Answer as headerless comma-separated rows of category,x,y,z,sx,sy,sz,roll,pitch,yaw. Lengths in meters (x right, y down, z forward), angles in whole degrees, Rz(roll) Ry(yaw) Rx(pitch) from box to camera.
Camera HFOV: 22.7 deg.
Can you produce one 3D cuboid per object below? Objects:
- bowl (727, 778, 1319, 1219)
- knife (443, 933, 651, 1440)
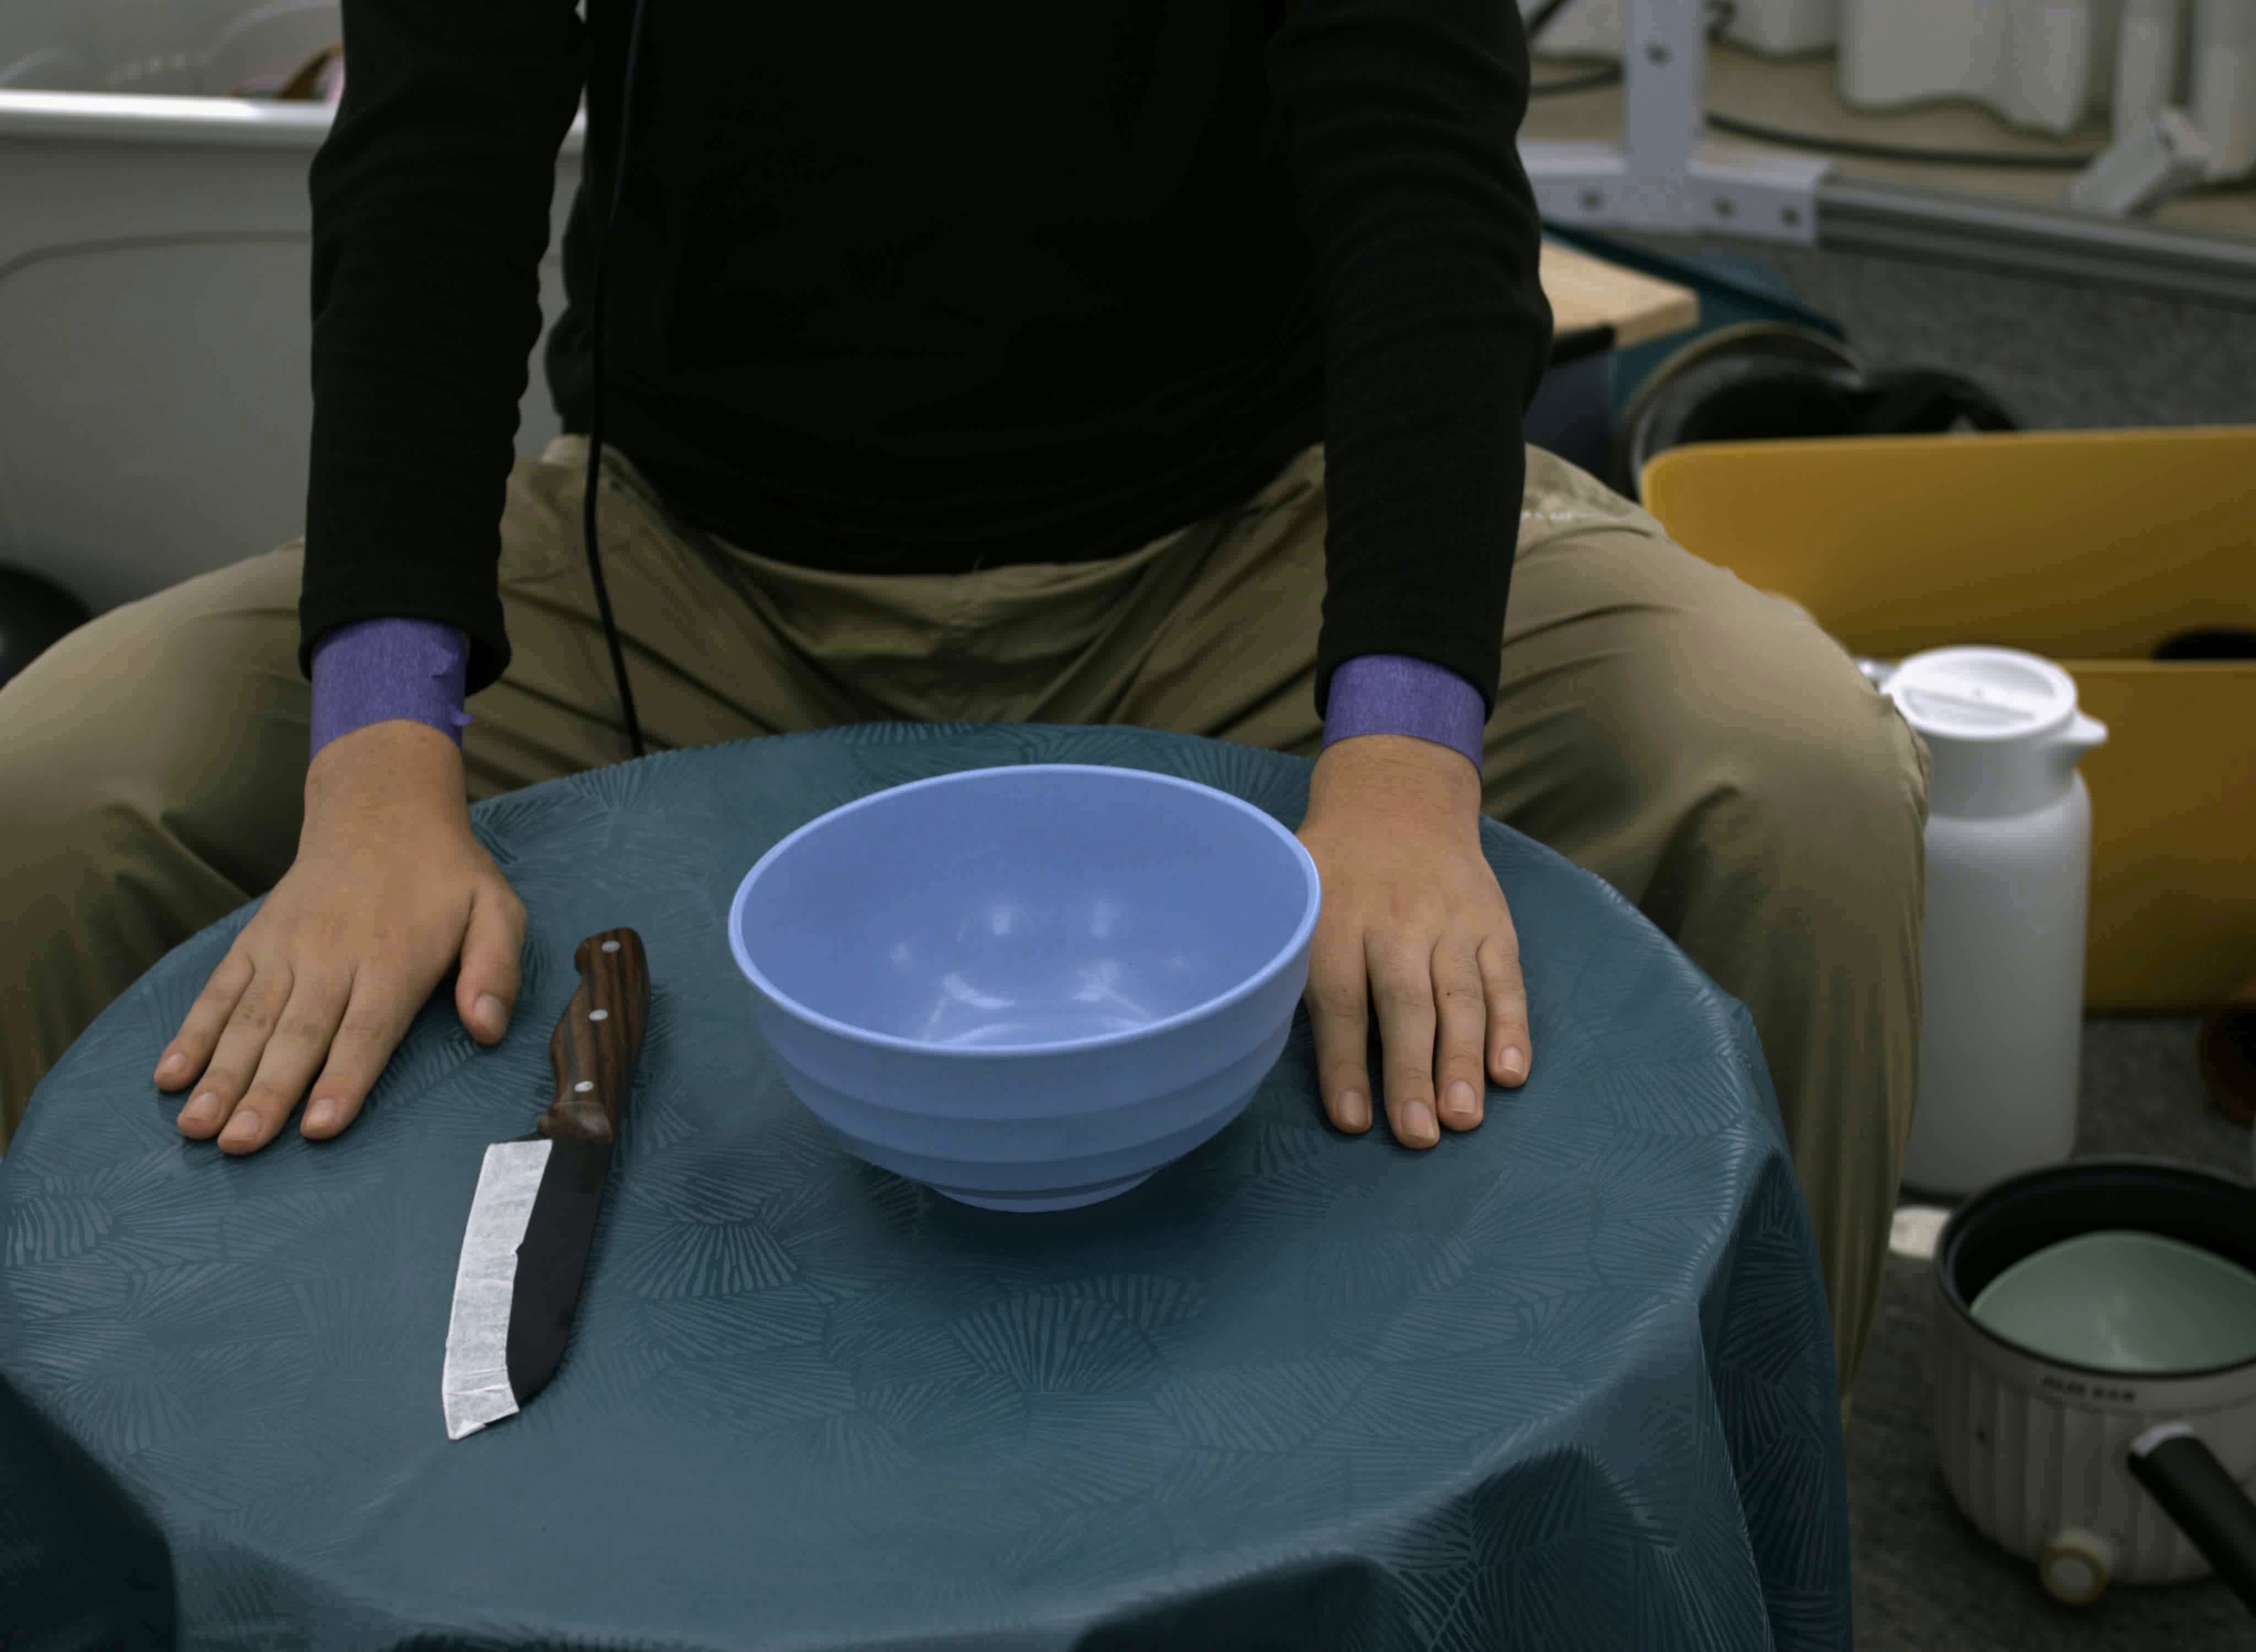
bowl,-0.032,0.067,1.870,0.195,0.094,0.199,-3,26,2
knife,-0.192,0.118,1.868,0.050,0.020,0.294,-4,29,8
